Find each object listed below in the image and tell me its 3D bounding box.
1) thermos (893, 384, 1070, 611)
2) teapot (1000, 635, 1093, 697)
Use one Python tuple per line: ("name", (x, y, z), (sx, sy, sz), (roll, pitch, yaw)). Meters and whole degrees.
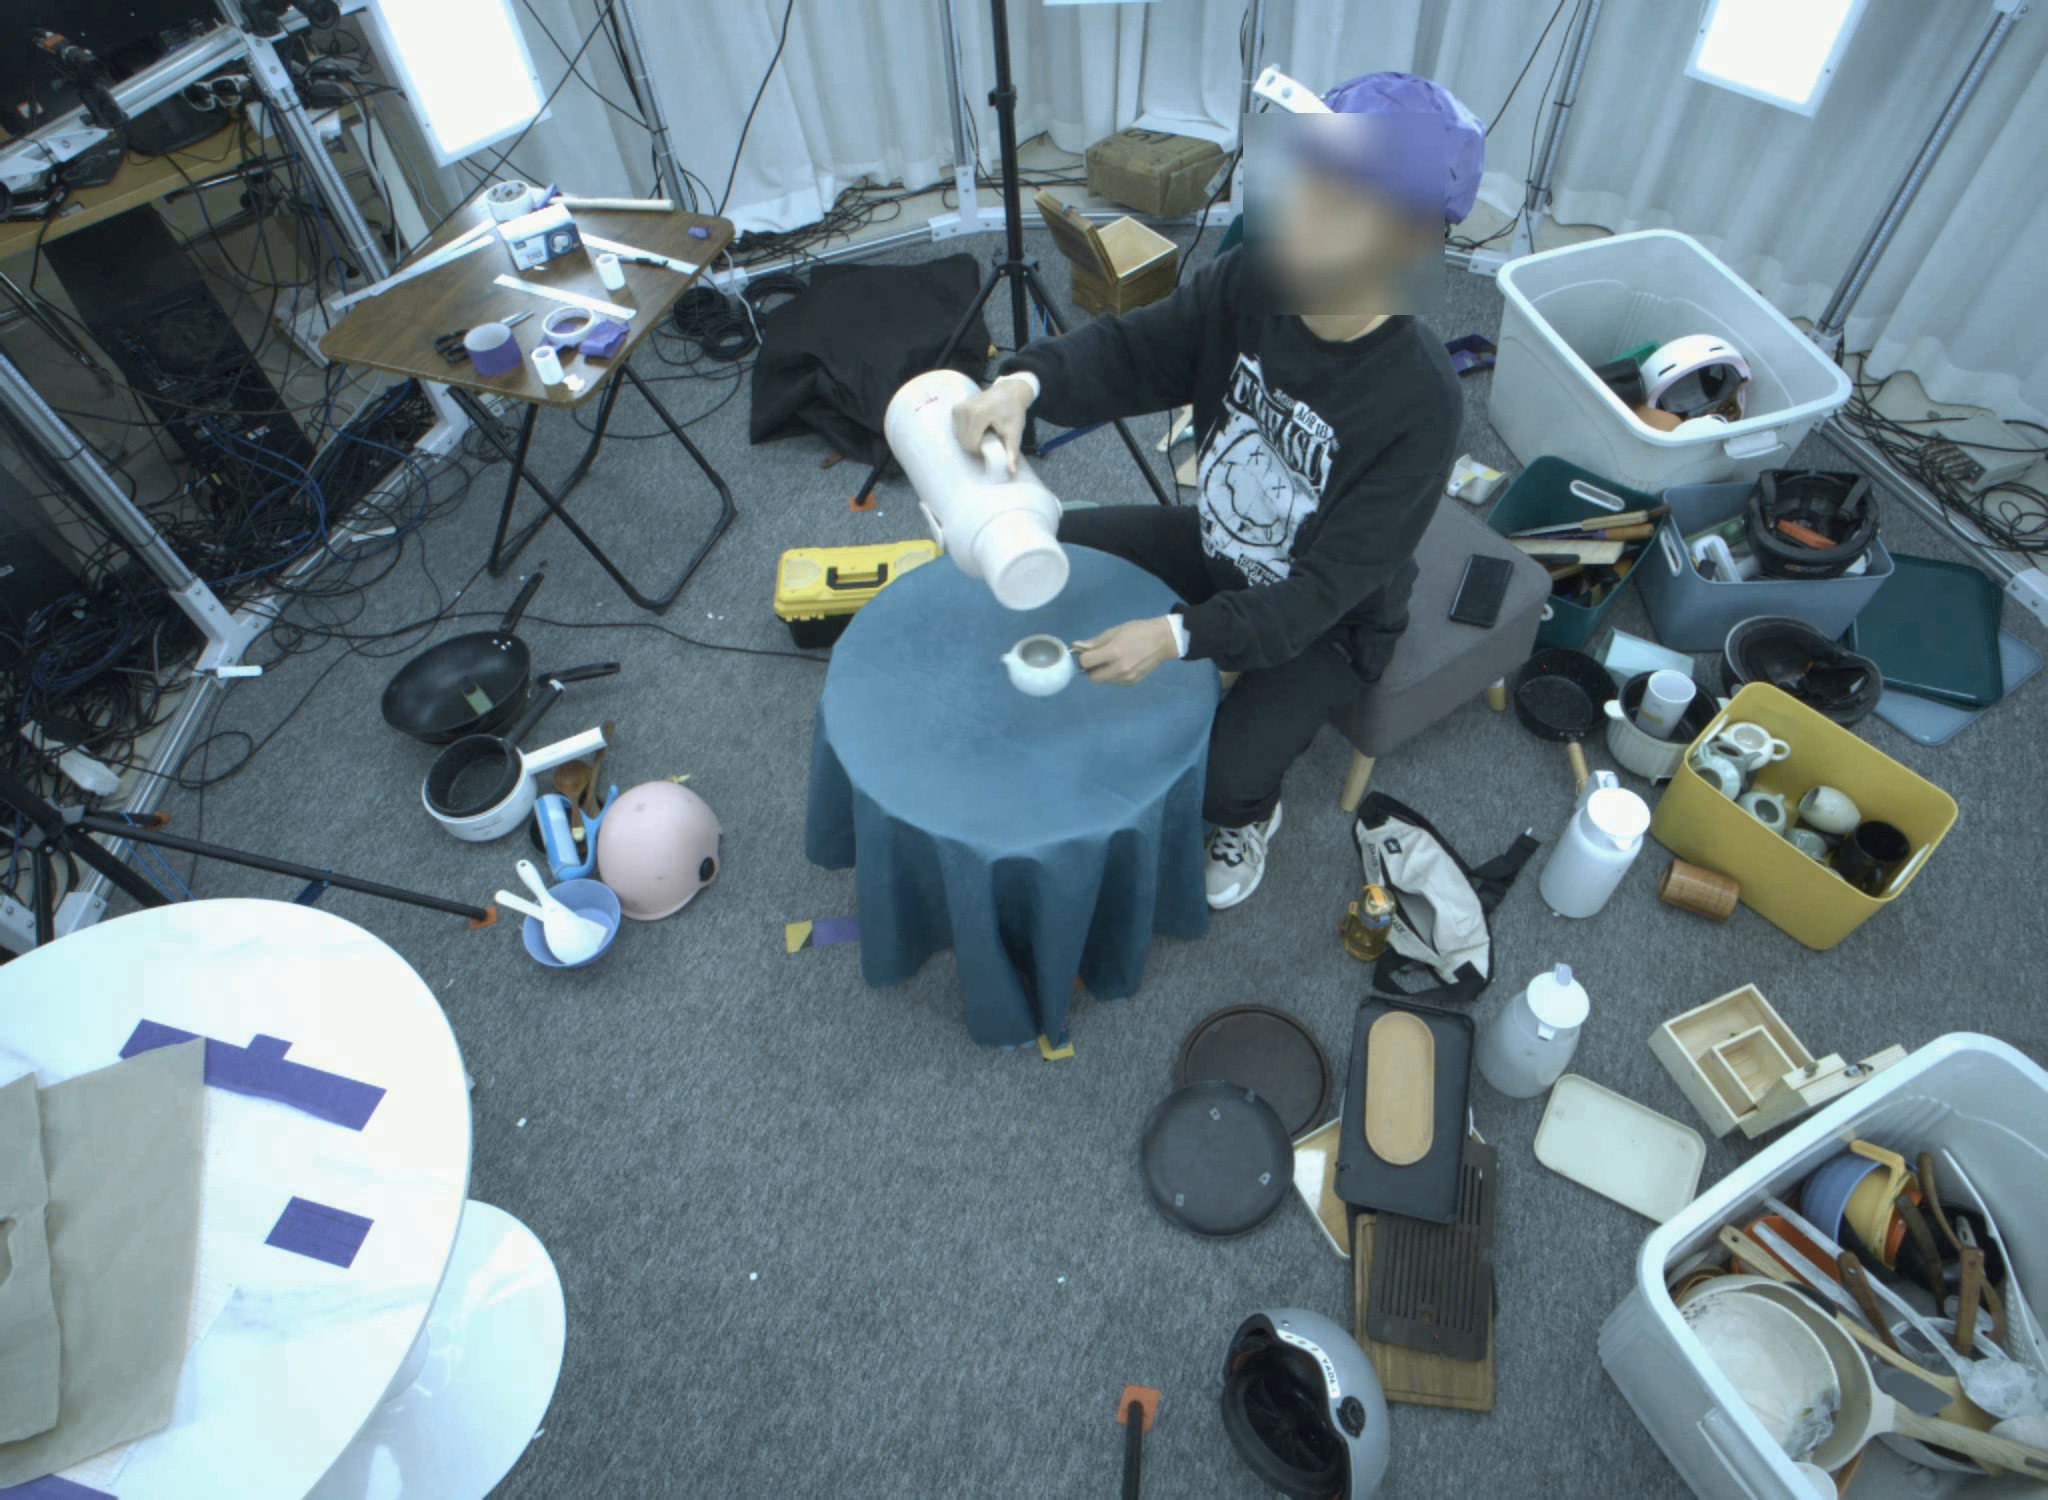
("thermos", (-0.058, -0.365, 1.674), (0.176, 0.209, 0.398), (-16, 50, -11))
("teapot", (0.030, -0.116, 1.671), (0.129, 0.060, 0.090), (-8, 49, -8))
